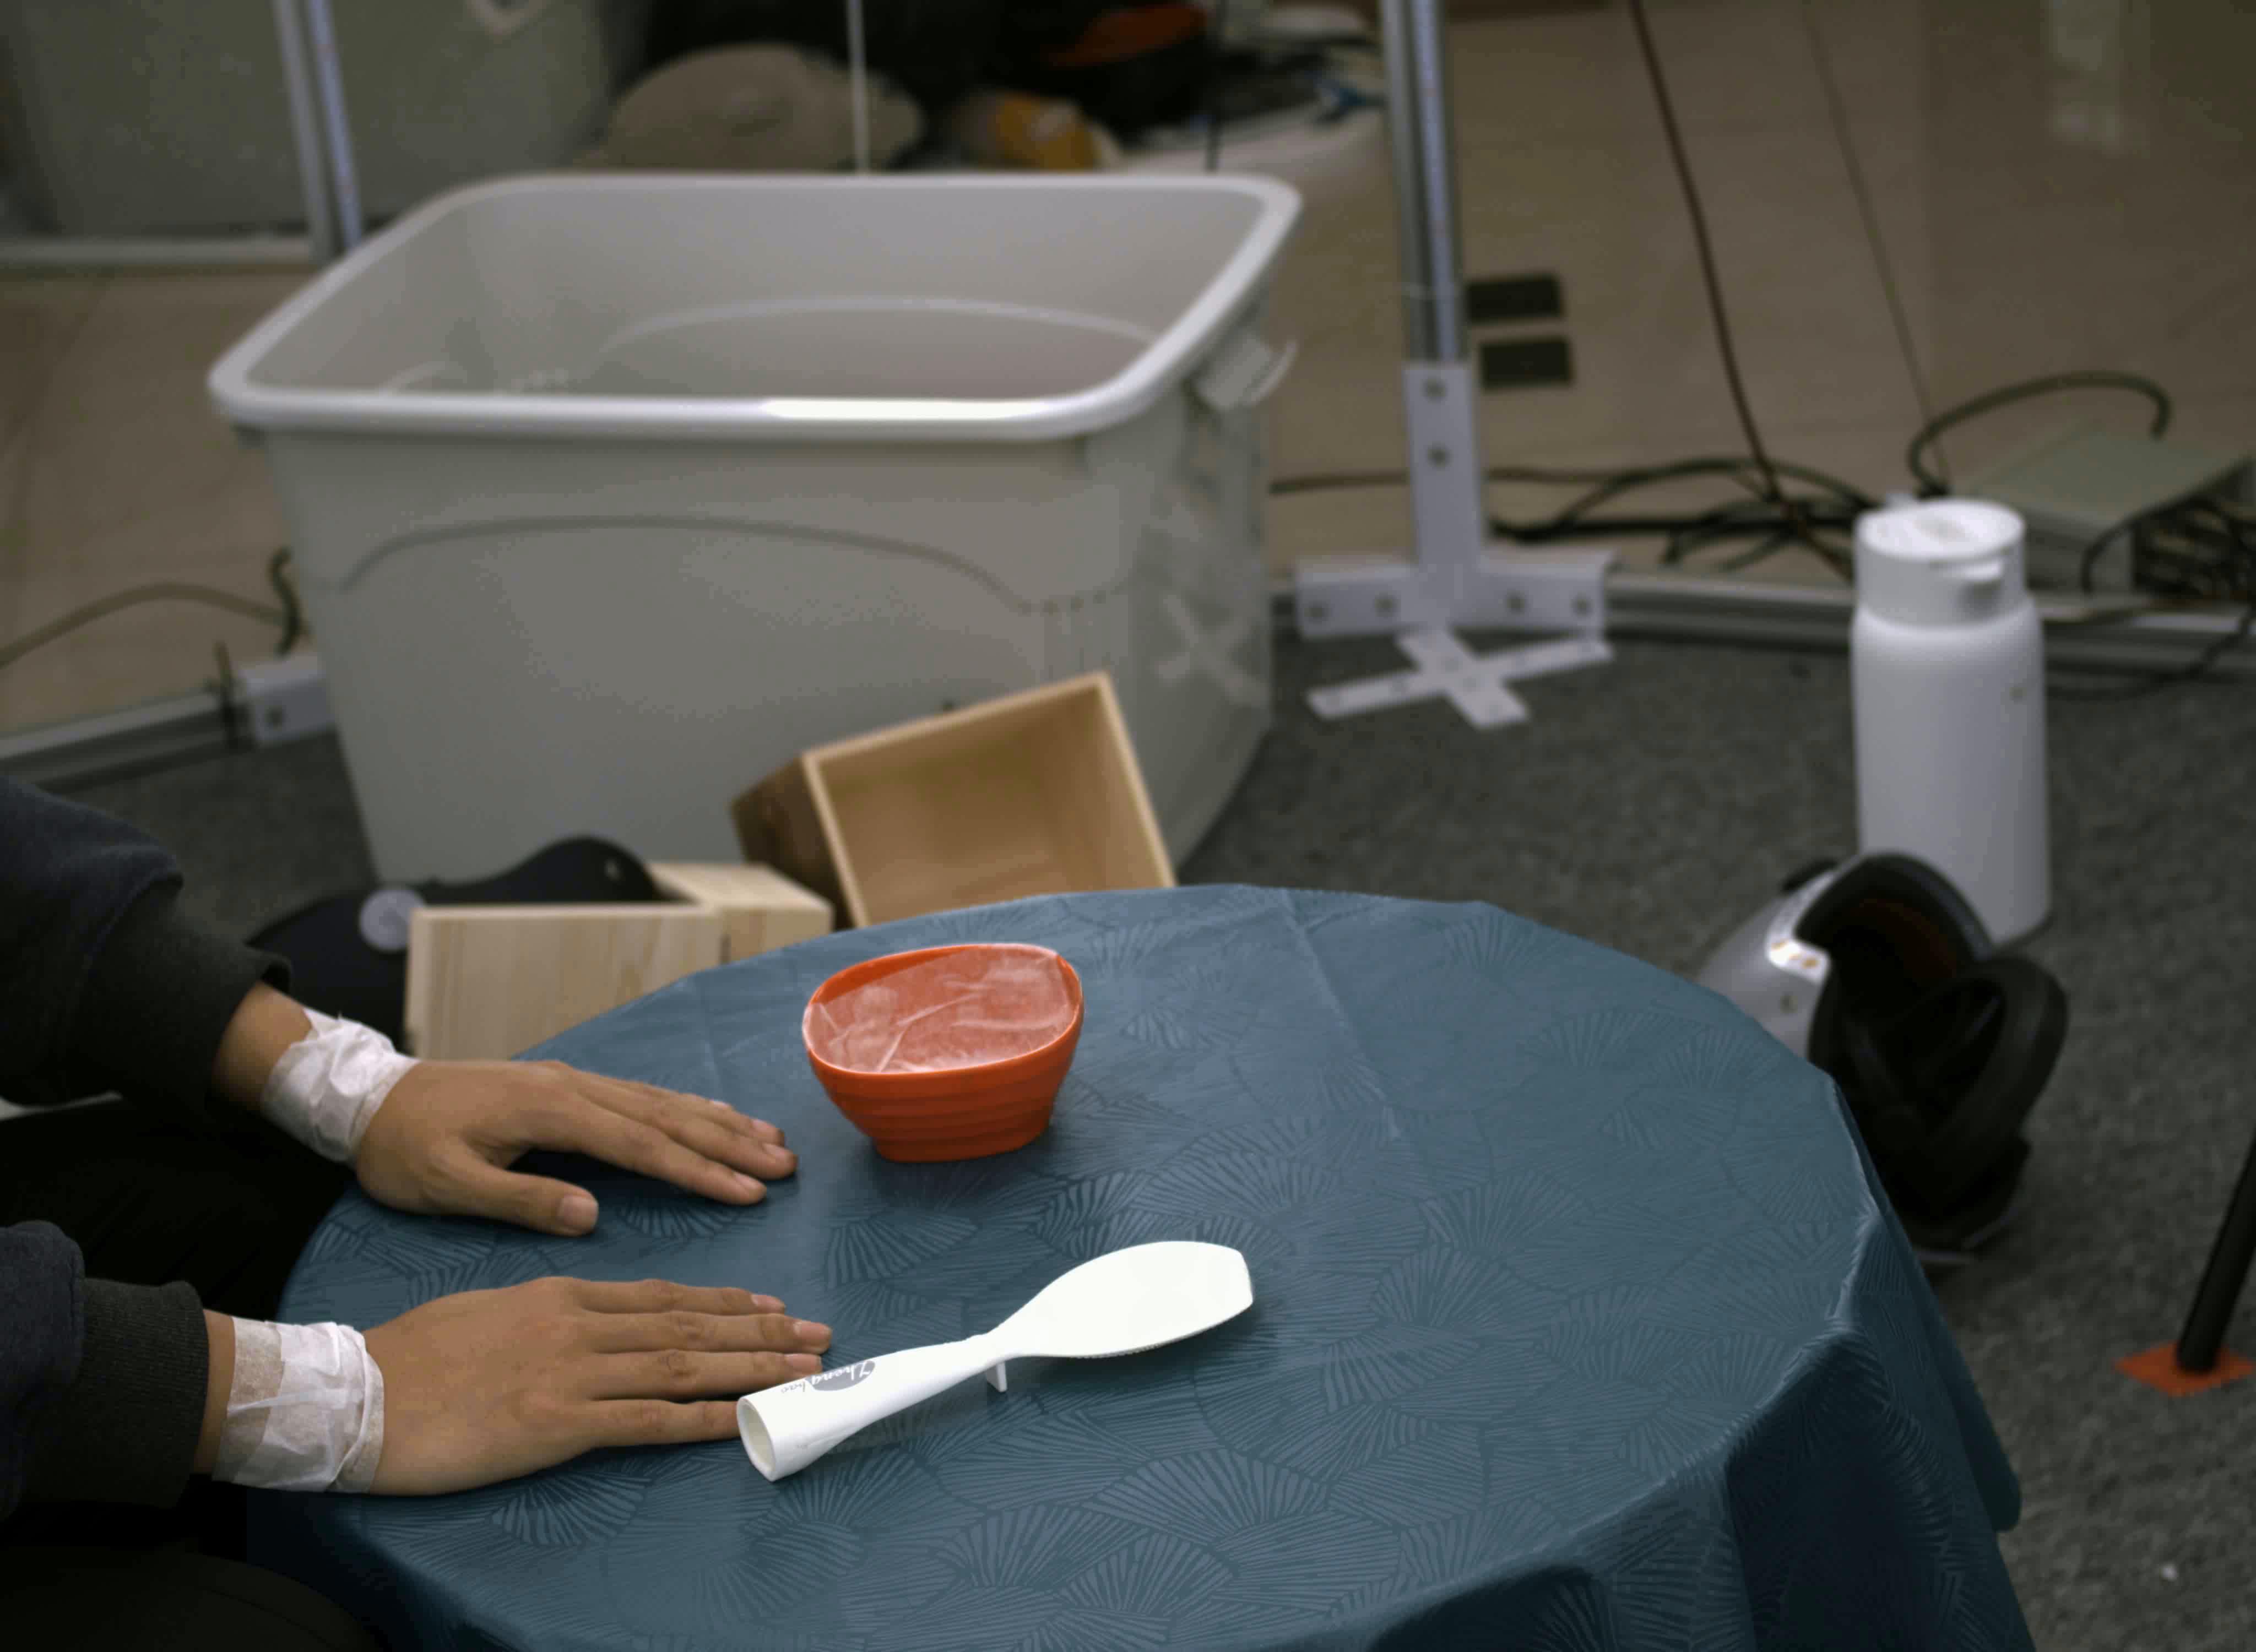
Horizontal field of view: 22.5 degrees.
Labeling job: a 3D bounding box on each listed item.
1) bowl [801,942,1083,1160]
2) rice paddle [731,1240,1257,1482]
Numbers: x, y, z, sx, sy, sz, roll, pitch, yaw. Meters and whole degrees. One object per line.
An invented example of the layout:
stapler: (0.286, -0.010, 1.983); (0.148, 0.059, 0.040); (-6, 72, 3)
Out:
bowl: (-0.070, 0.092, 2.202); (0.119, 0.052, 0.117); (-4, 25, 2)
rice paddle: (-0.045, 0.185, 2.024); (0.204, 0.030, 0.068); (-19, 29, -24)
